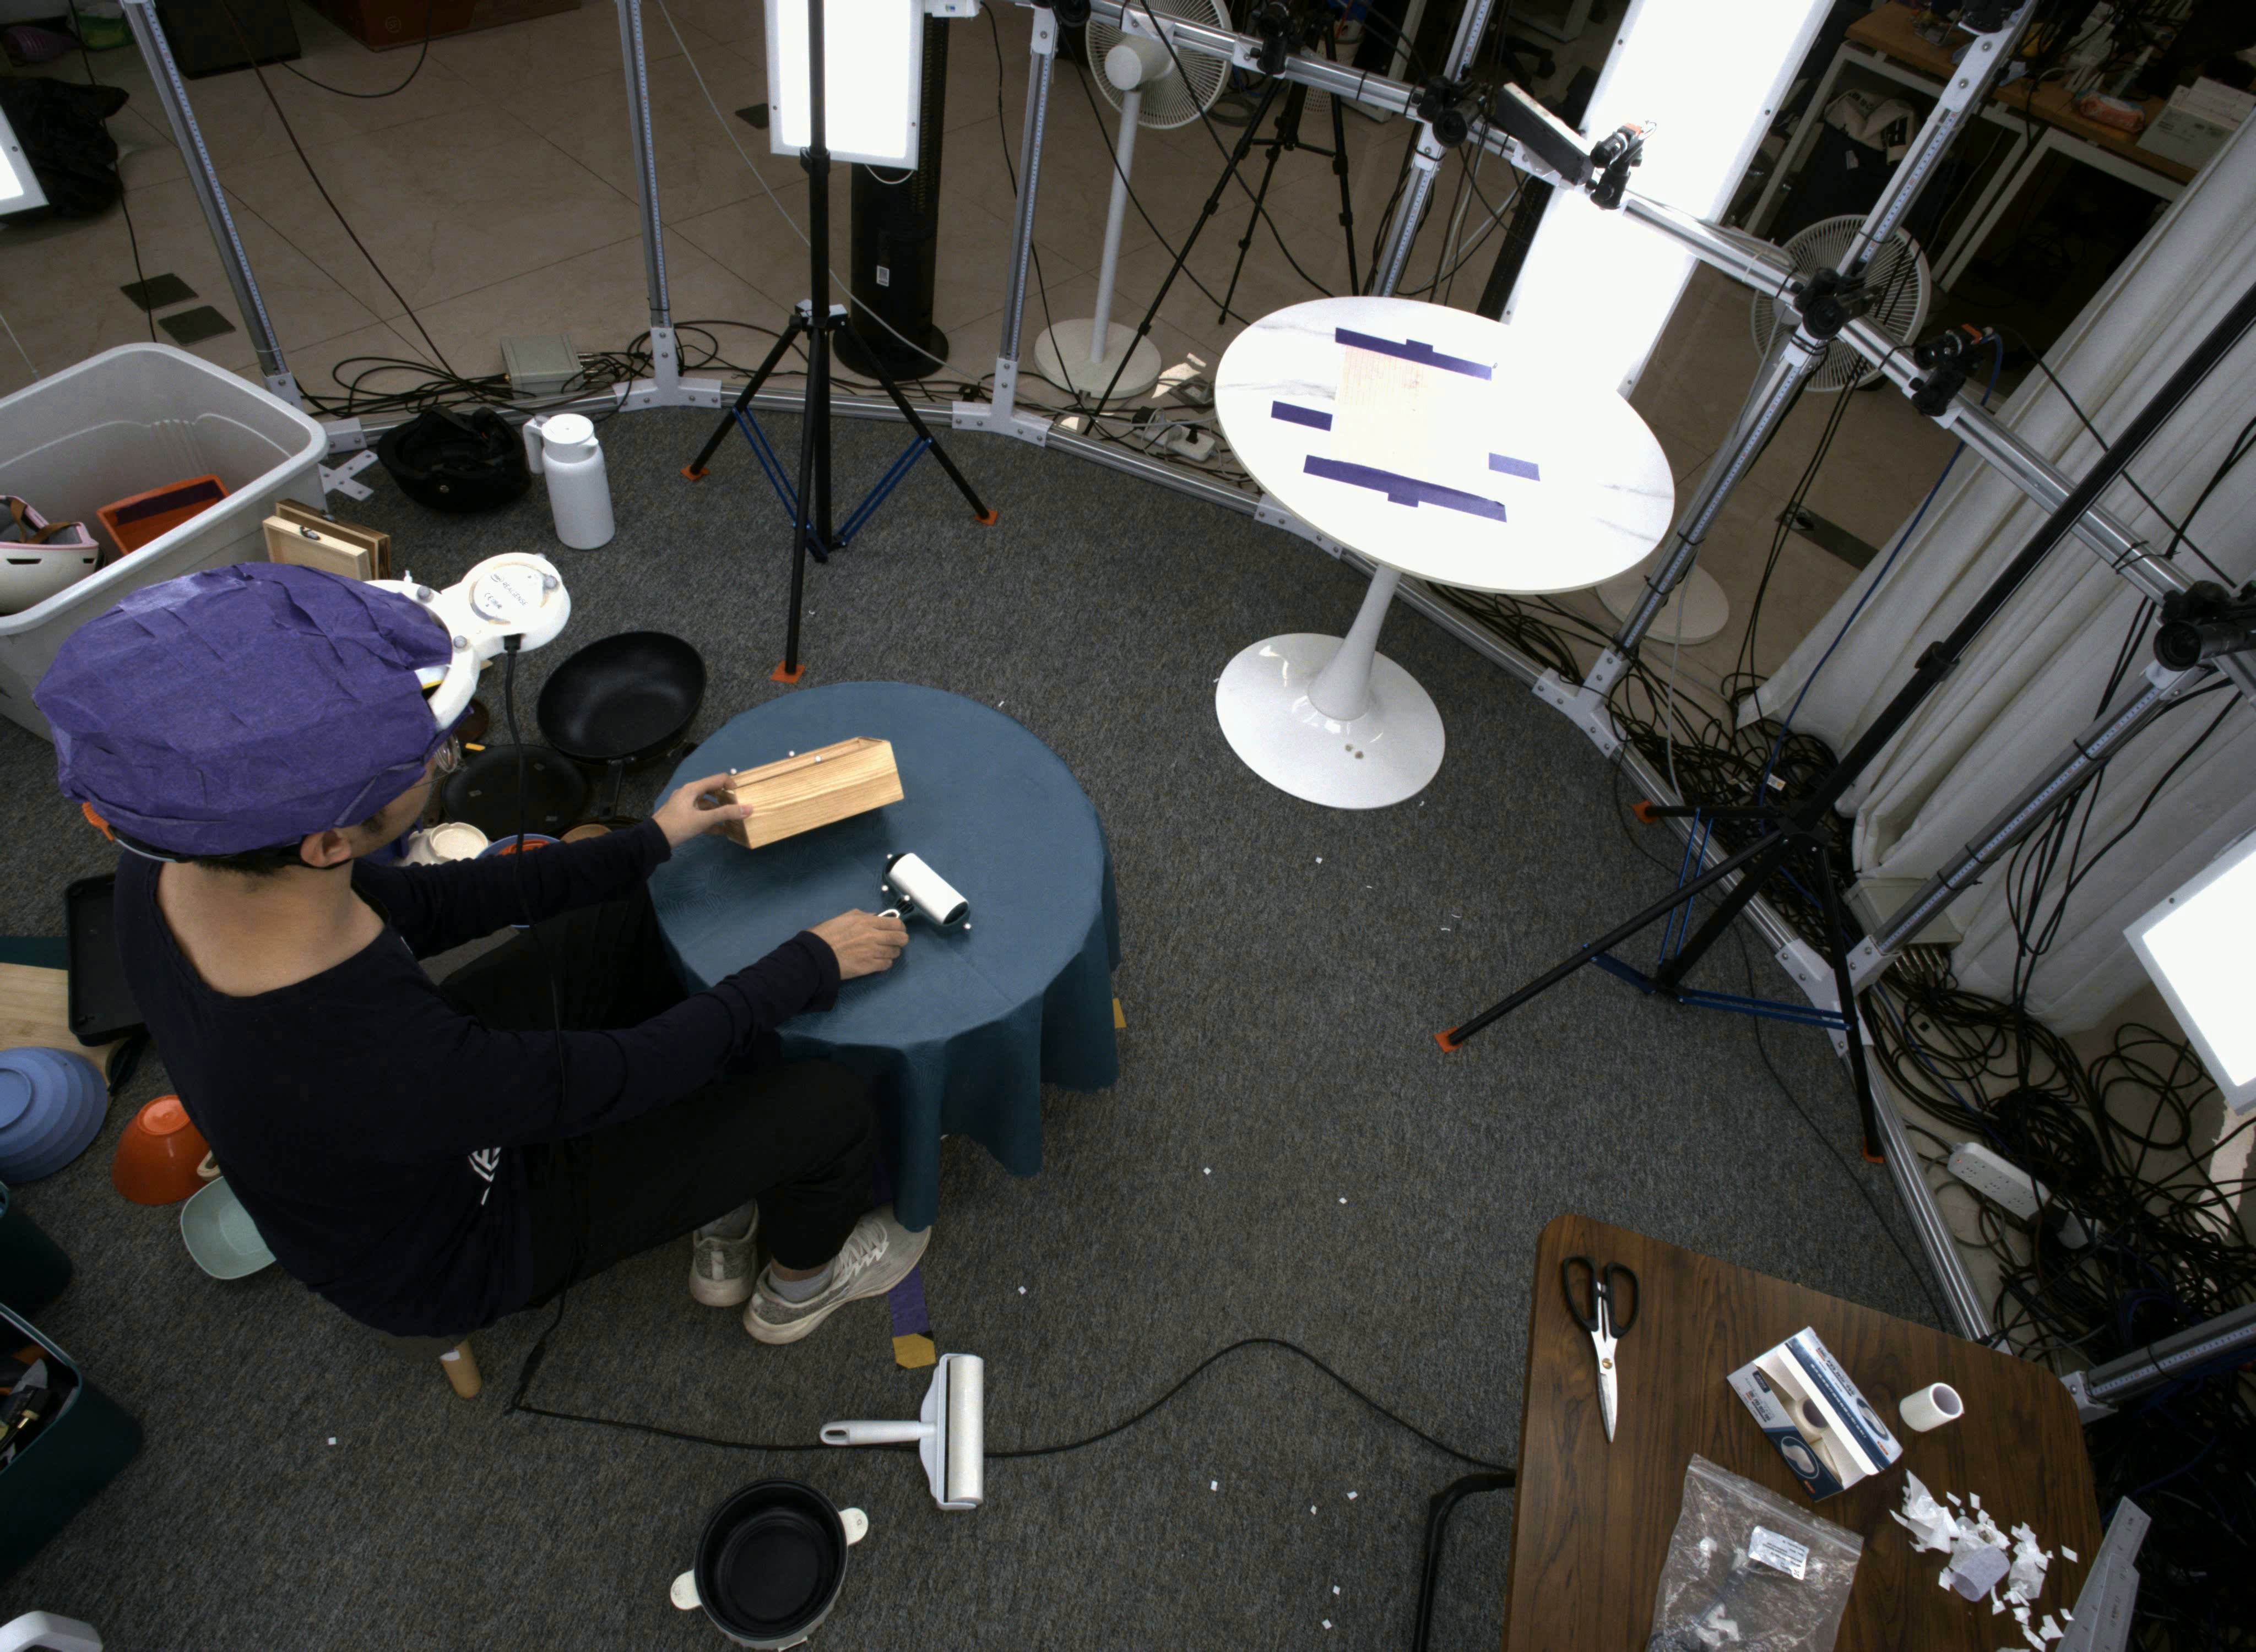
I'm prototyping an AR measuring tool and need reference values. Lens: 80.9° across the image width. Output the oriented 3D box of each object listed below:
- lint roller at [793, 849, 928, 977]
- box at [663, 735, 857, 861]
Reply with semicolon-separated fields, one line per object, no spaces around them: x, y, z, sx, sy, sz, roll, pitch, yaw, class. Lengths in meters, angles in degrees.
-0.351;0.119;1.628;0.132;0.049;0.180;37;51;14;lint roller
-0.473;-0.041;1.664;0.212;0.082;0.104;-26;22;-31;box
